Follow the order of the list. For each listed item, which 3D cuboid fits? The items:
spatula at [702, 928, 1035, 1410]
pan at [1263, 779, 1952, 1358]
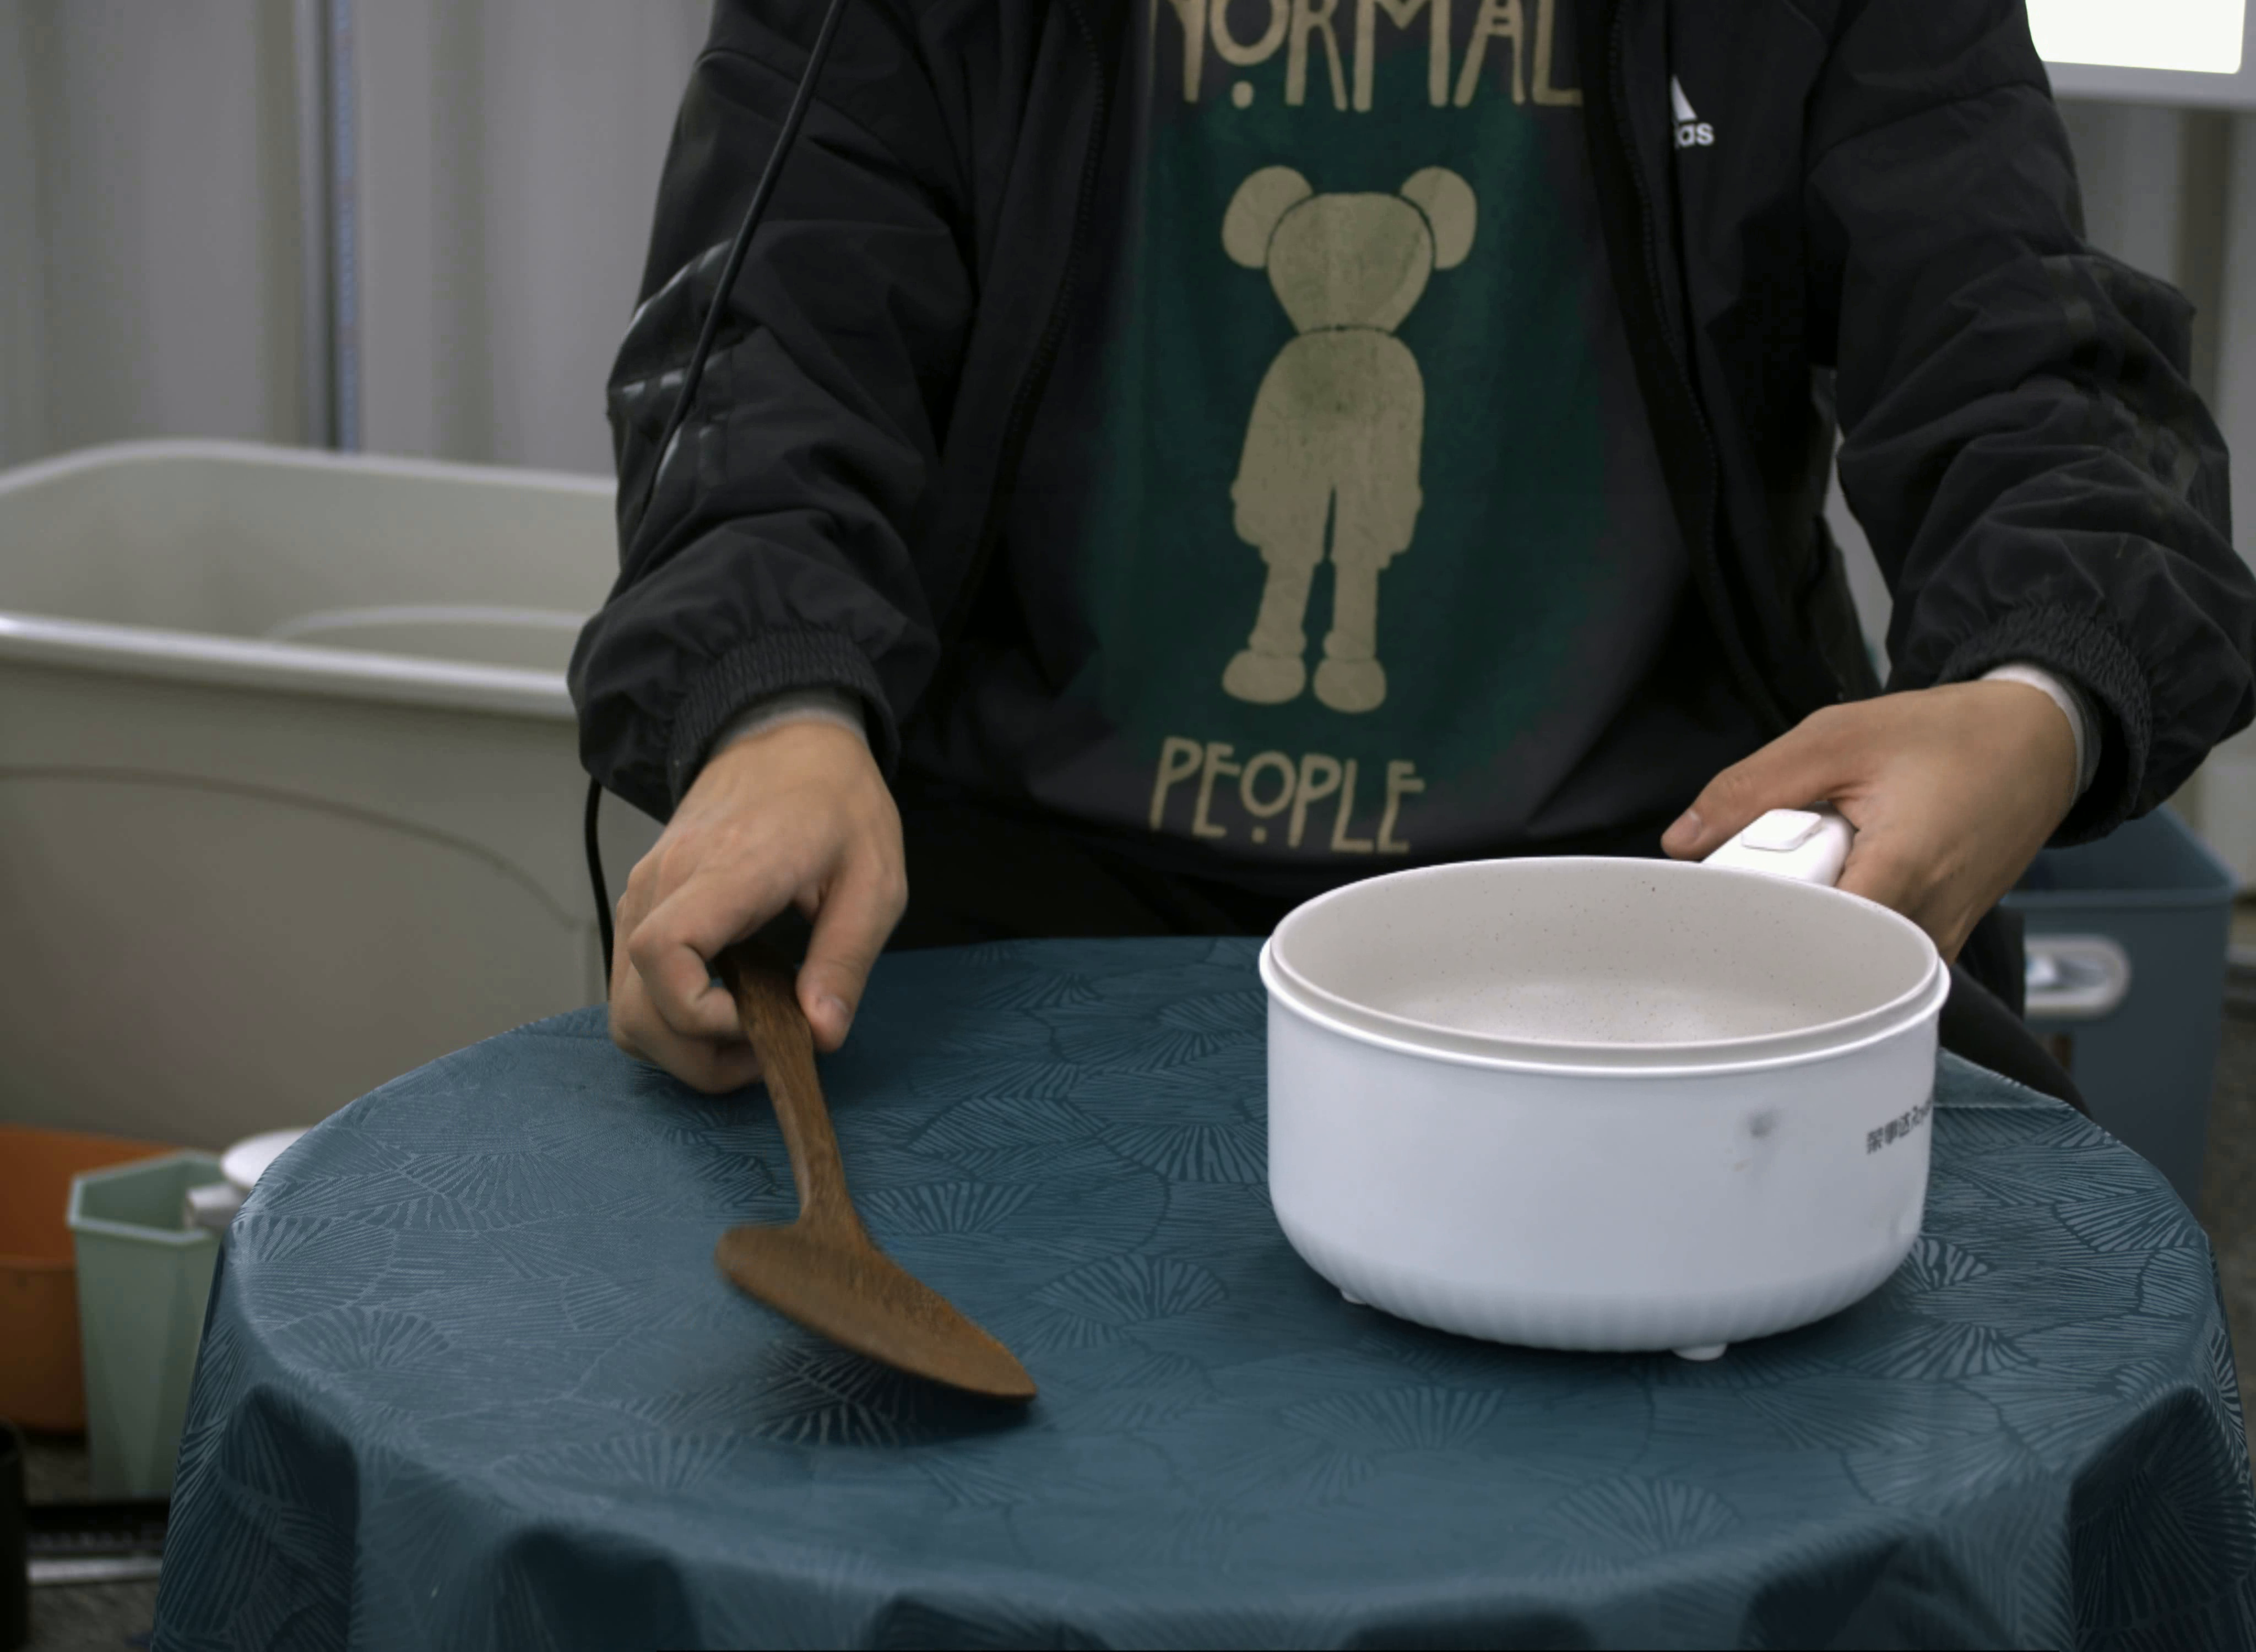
[{"bbox_3d":[-0.097,0.094,1.593,0.096,0.016,0.382,19,13,-15],"label":"spatula"},{"bbox_3d":[0.172,0.068,1.614,0.199,0.103,0.356,7,15,24],"label":"pan"}]
